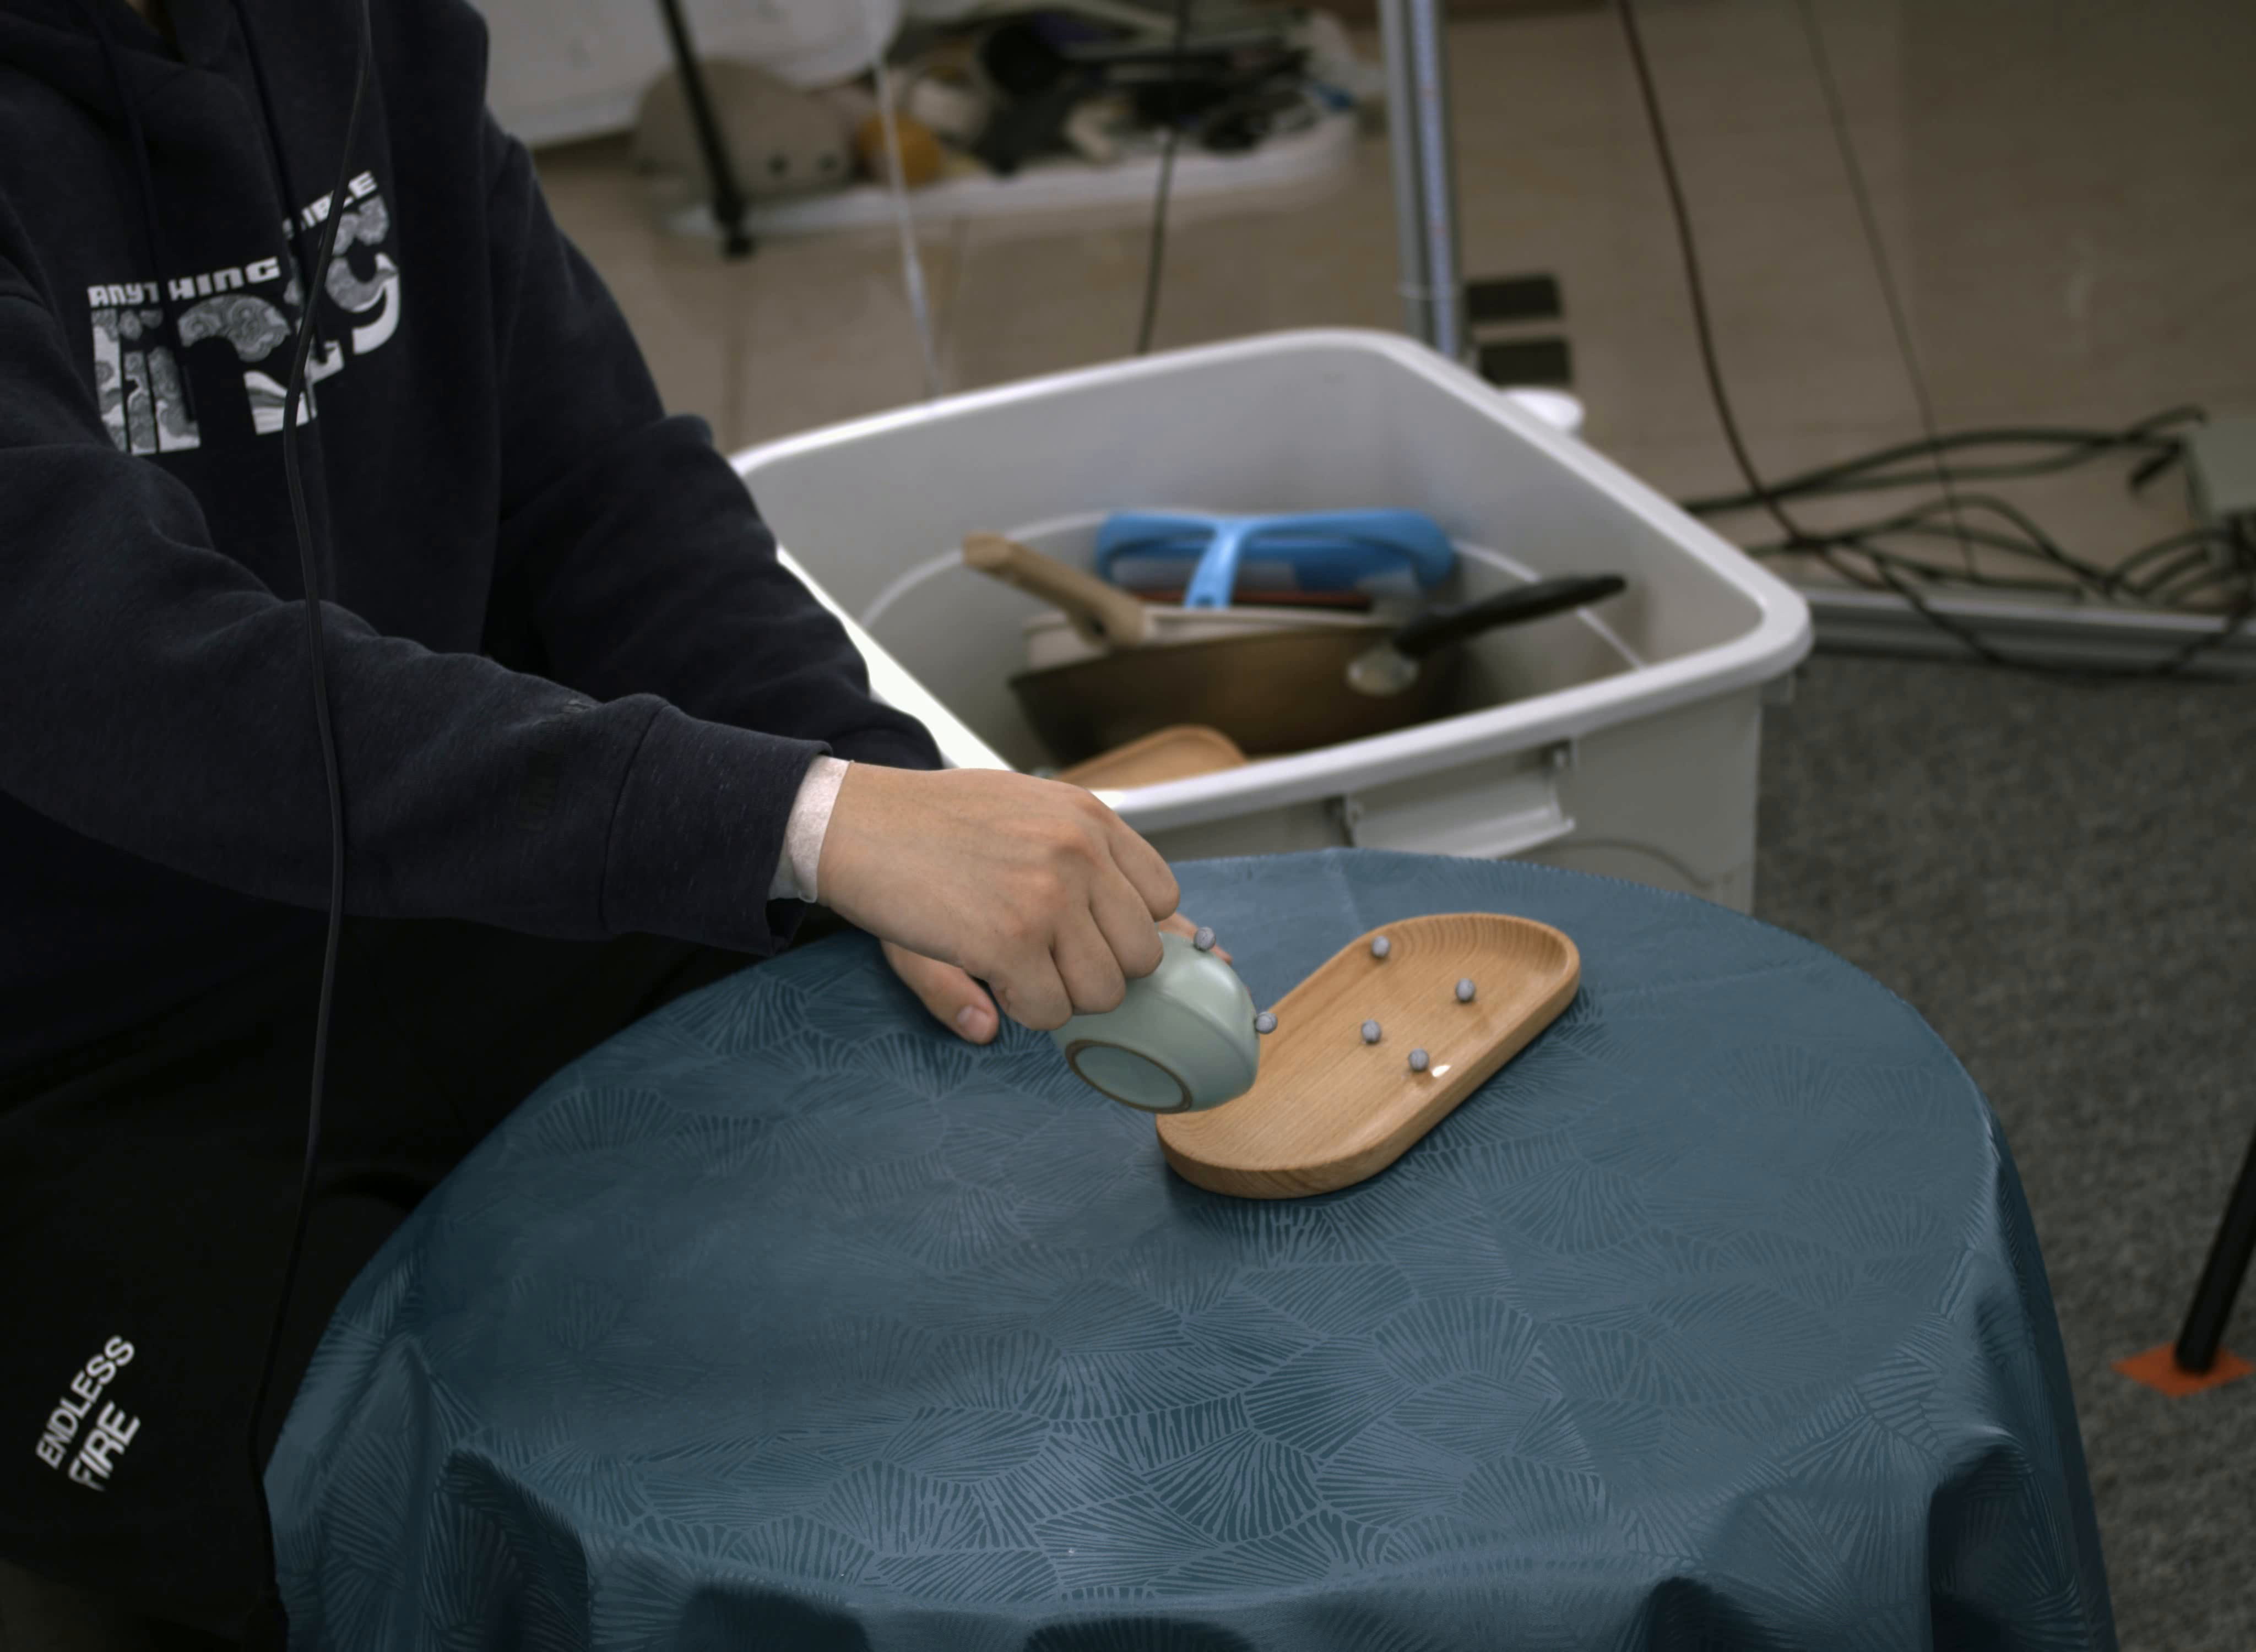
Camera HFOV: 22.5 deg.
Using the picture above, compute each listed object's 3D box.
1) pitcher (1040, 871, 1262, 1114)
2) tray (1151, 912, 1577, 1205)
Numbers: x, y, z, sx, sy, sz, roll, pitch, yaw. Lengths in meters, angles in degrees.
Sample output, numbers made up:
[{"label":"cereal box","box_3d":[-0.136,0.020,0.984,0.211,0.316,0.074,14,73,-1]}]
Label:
[{"label":"pitcher","box_3d":[0.007,0.064,2.085,0.085,0.109,0.059,8,62,30]},{"label":"tray","box_3d":[0.094,0.089,2.215,0.101,0.020,0.228,8,30,32]}]
